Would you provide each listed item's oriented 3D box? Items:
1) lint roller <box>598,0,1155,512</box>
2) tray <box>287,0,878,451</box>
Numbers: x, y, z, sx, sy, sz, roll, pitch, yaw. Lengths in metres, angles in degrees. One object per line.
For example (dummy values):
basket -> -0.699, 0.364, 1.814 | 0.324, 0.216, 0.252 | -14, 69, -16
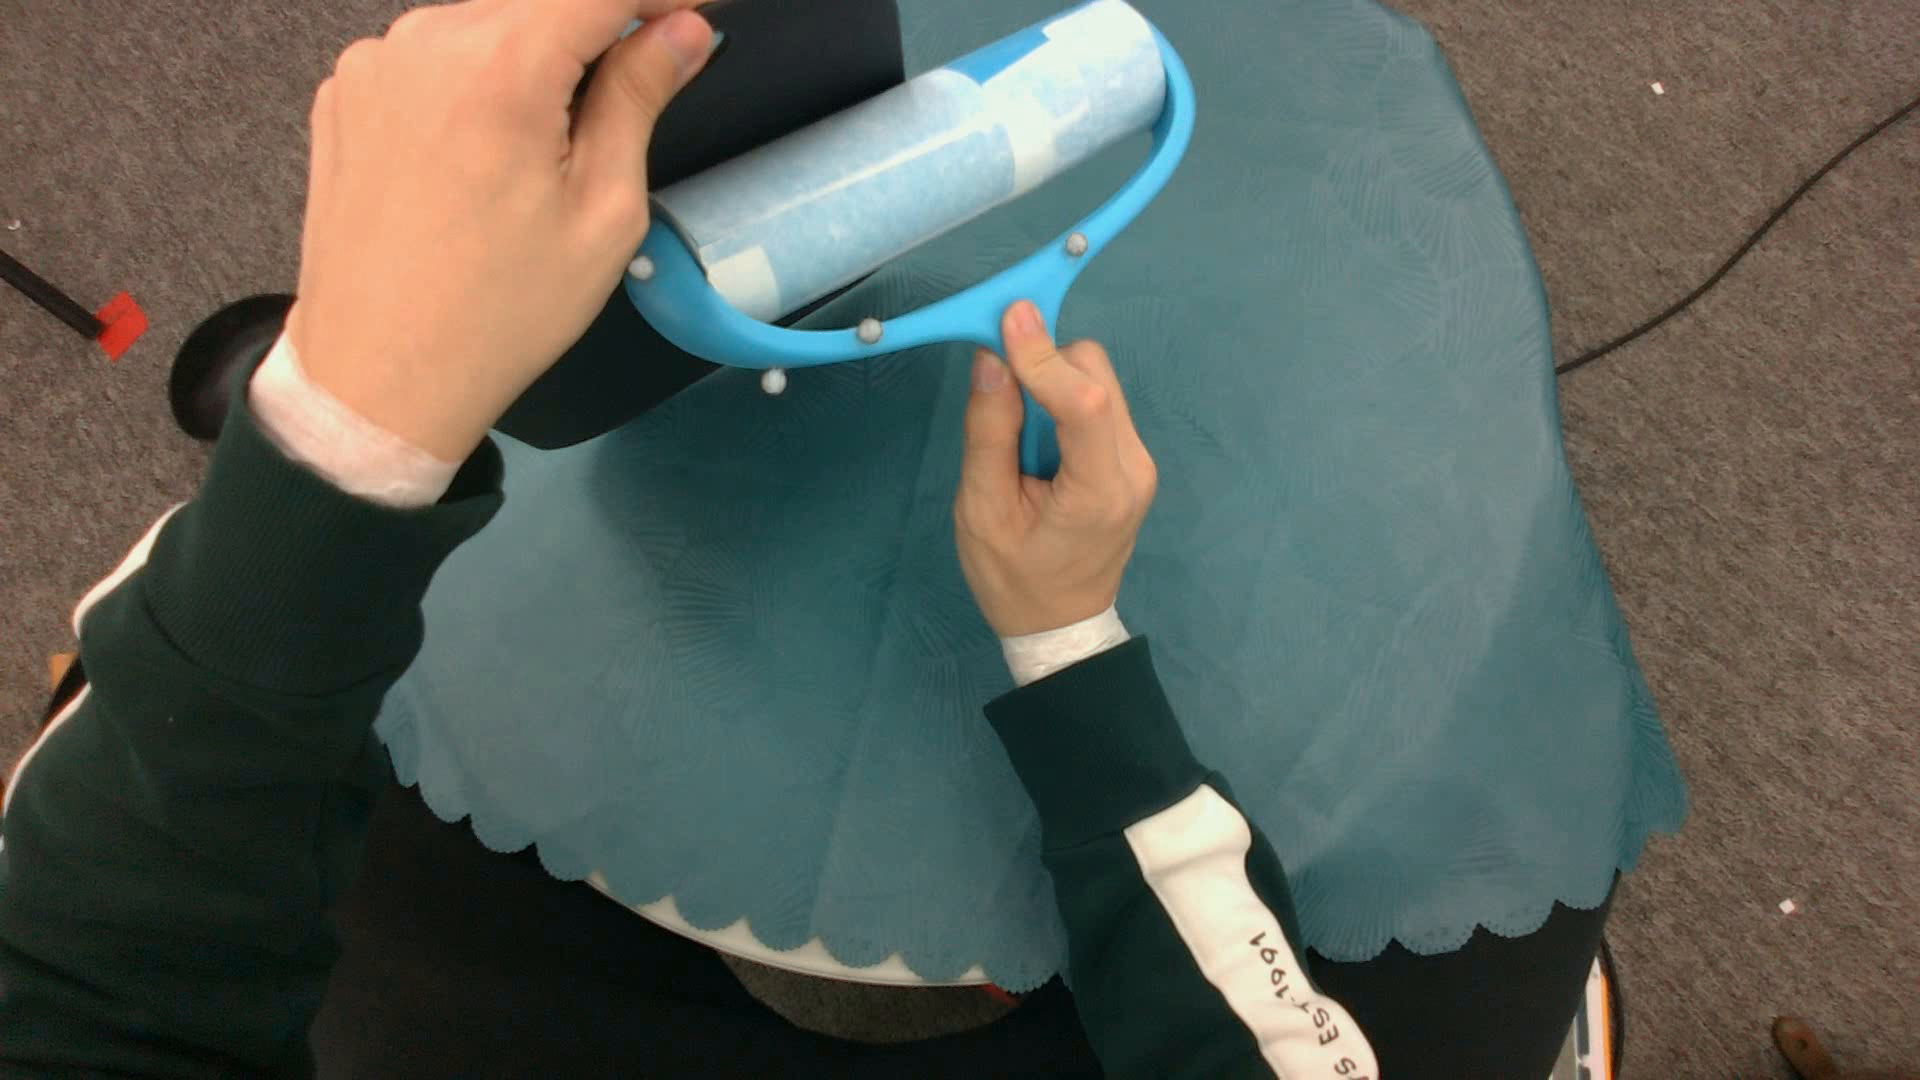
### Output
lint roller -> 0.001, -0.090, 0.513 | 0.230, 0.068, 0.180 | -37, 109, -23
tray -> -0.118, -0.110, 0.530 | 0.211, 0.325, 0.010 | -34, 87, -3
